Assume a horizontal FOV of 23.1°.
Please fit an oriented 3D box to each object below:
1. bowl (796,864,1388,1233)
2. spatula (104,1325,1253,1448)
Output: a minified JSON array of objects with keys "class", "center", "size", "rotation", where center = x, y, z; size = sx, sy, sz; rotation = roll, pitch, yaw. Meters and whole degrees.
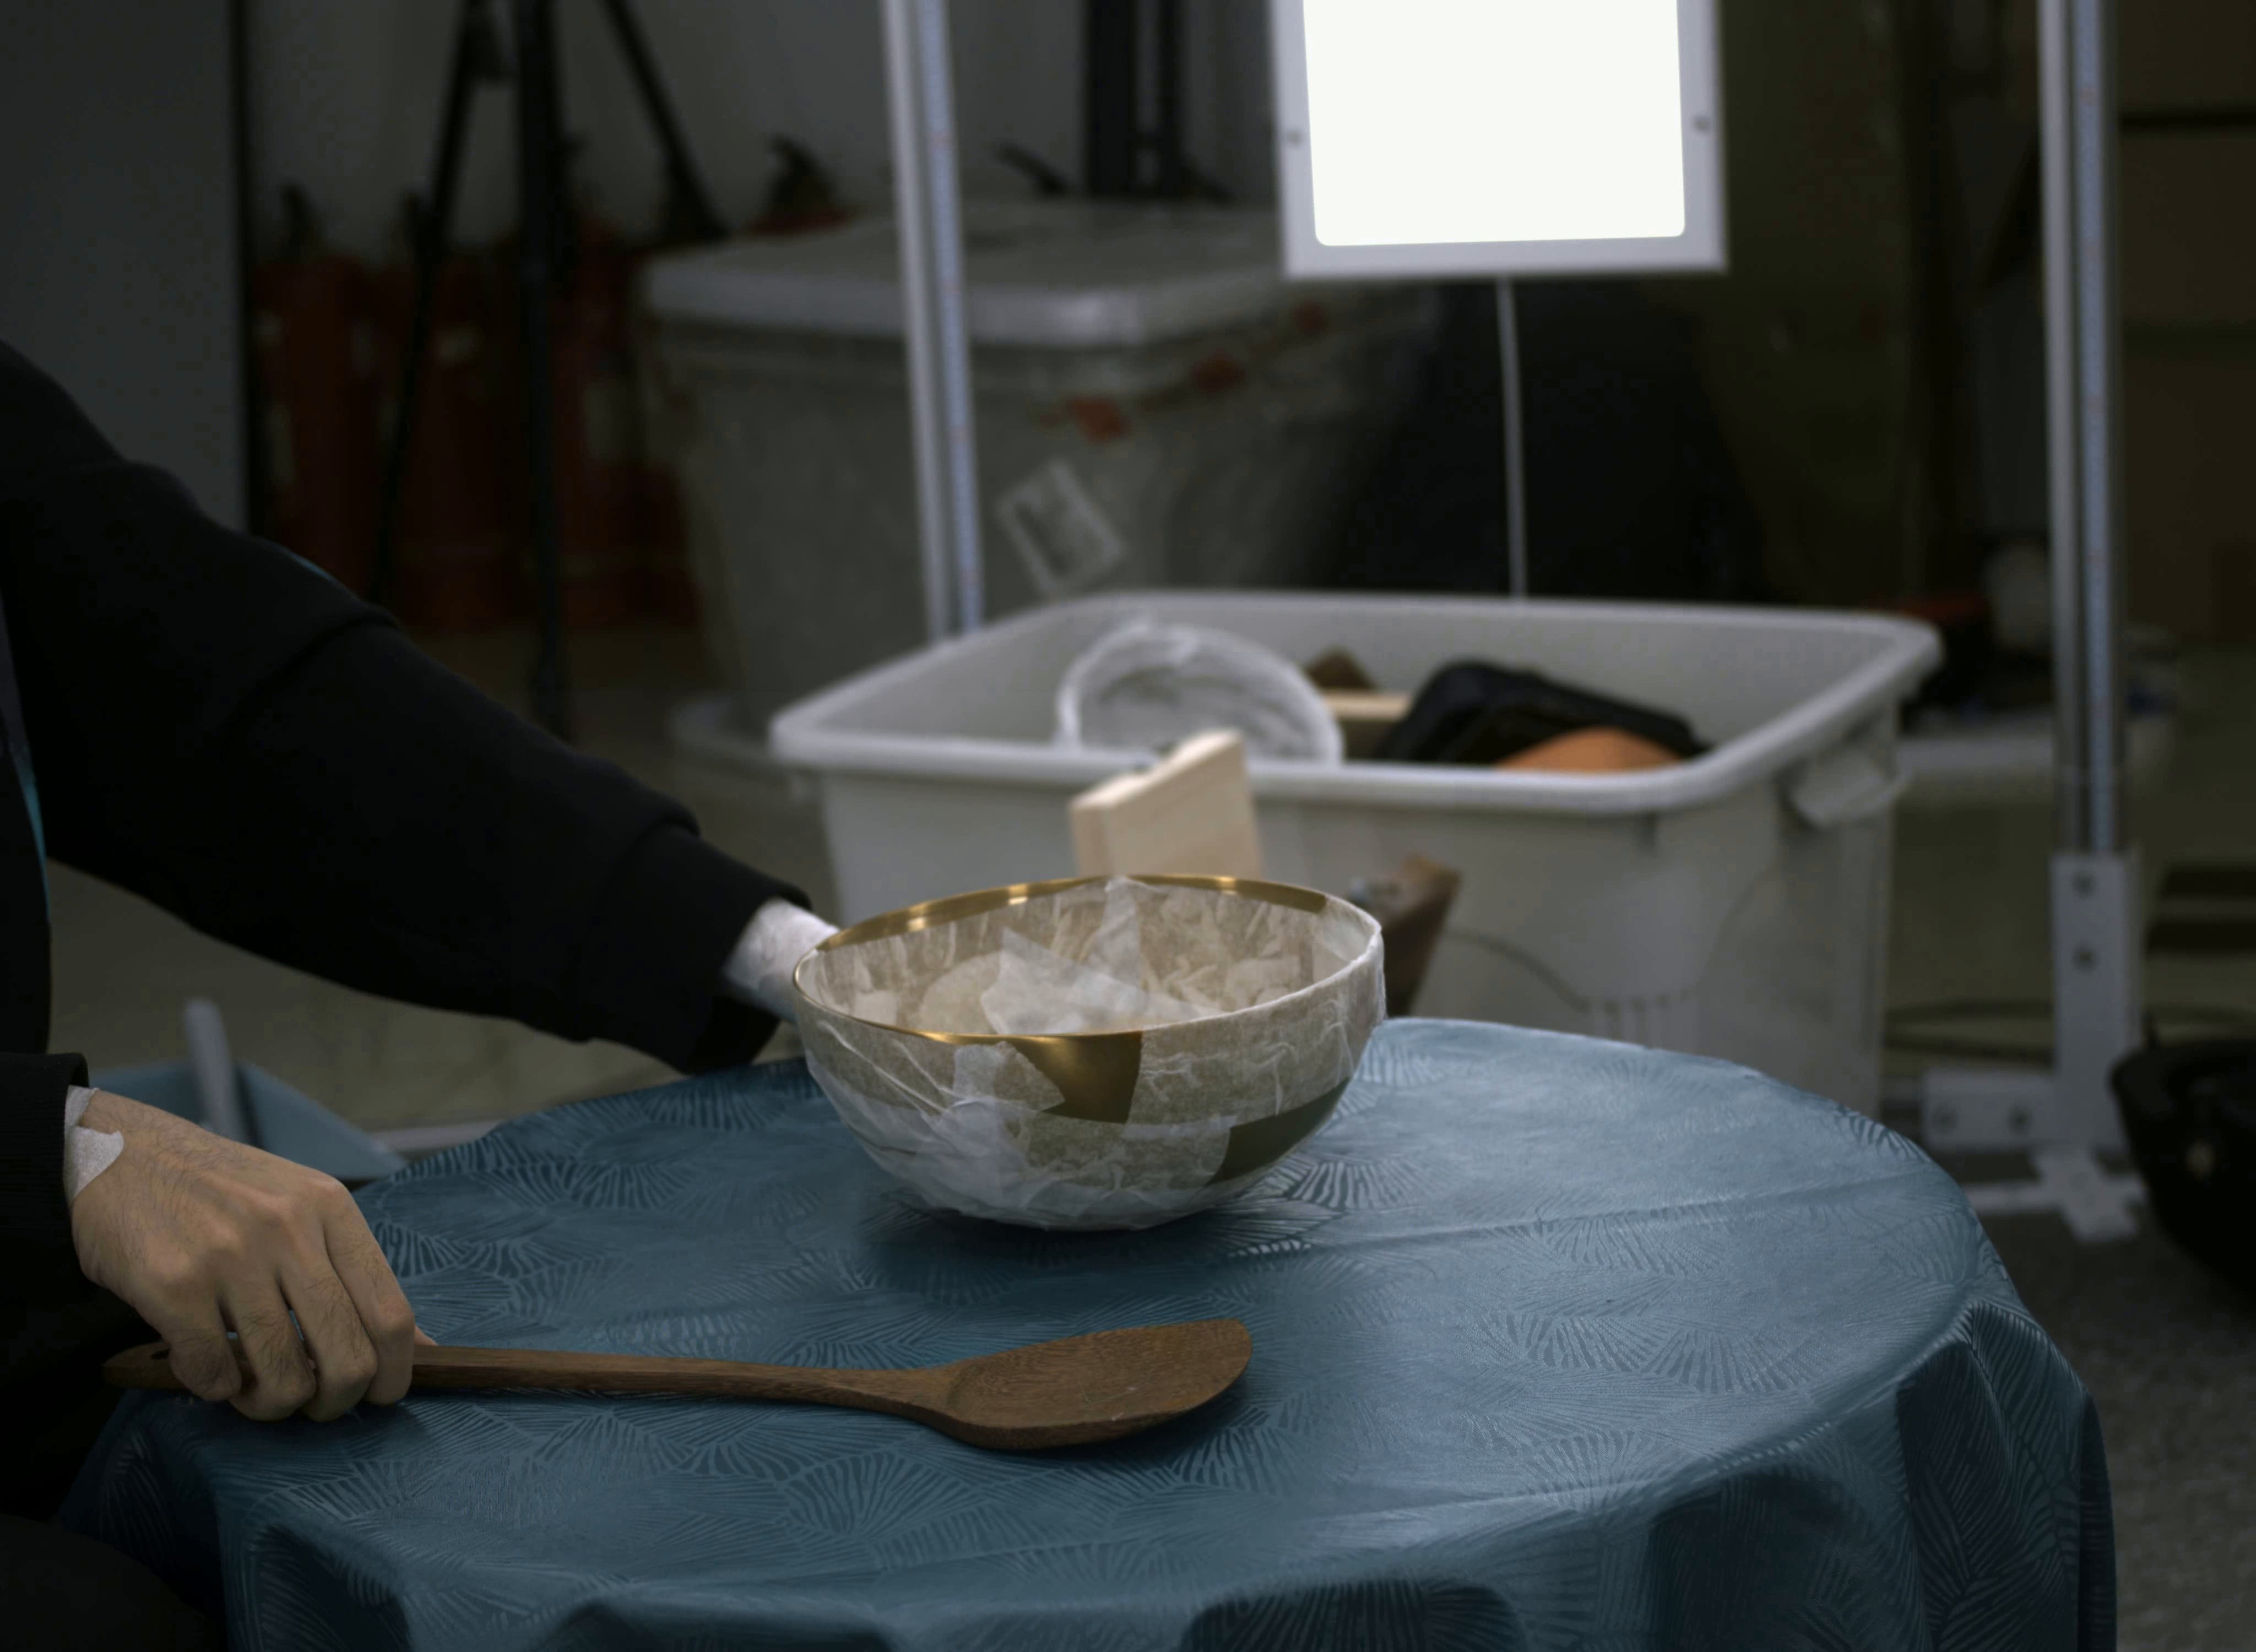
[{"class":"bowl","center":[-0.011,0.083,1.881],"size":[0.214,0.095,0.214],"rotation":[-6,15,0]},{"class":"spatula","center":[-0.149,0.173,1.735],"size":[0.391,0.016,0.094],"rotation":[0,14,20]}]
